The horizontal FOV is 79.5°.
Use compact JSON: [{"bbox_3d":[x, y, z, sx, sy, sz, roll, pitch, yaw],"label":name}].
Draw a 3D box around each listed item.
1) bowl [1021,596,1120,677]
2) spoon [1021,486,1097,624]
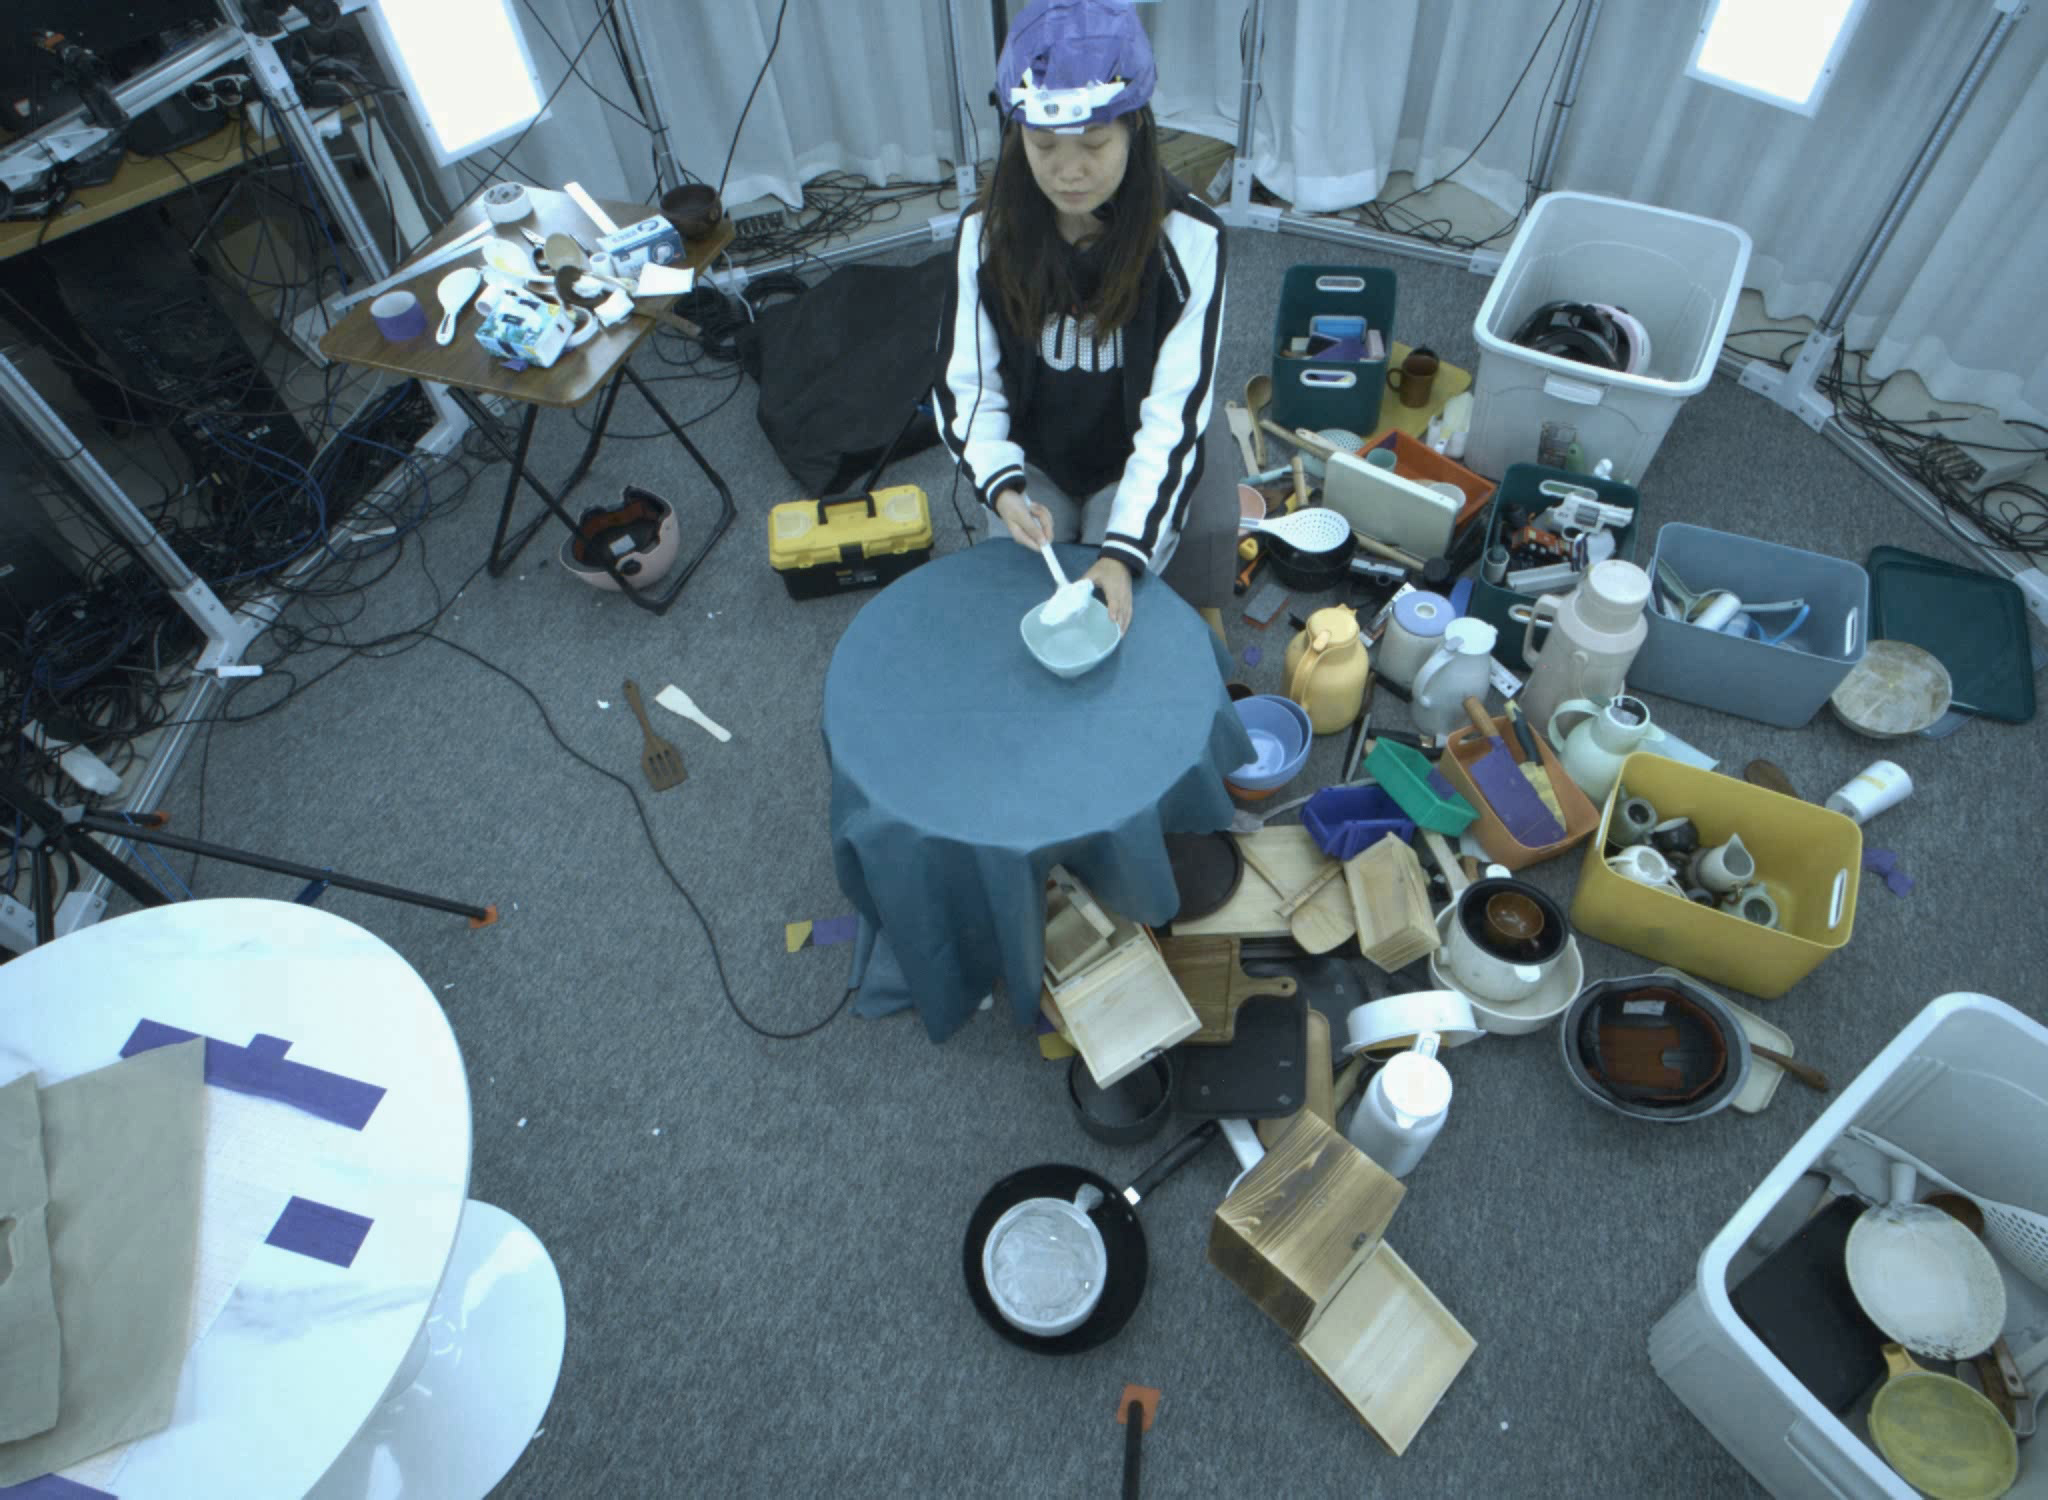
[{"bbox_3d":[0.071,-0.165,1.870,0.151,0.059,0.150,0,55,2],"label":"bowl"},{"bbox_3d":[0.035,-0.303,1.840,0.100,0.060,0.274,-26,67,14],"label":"spoon"}]
